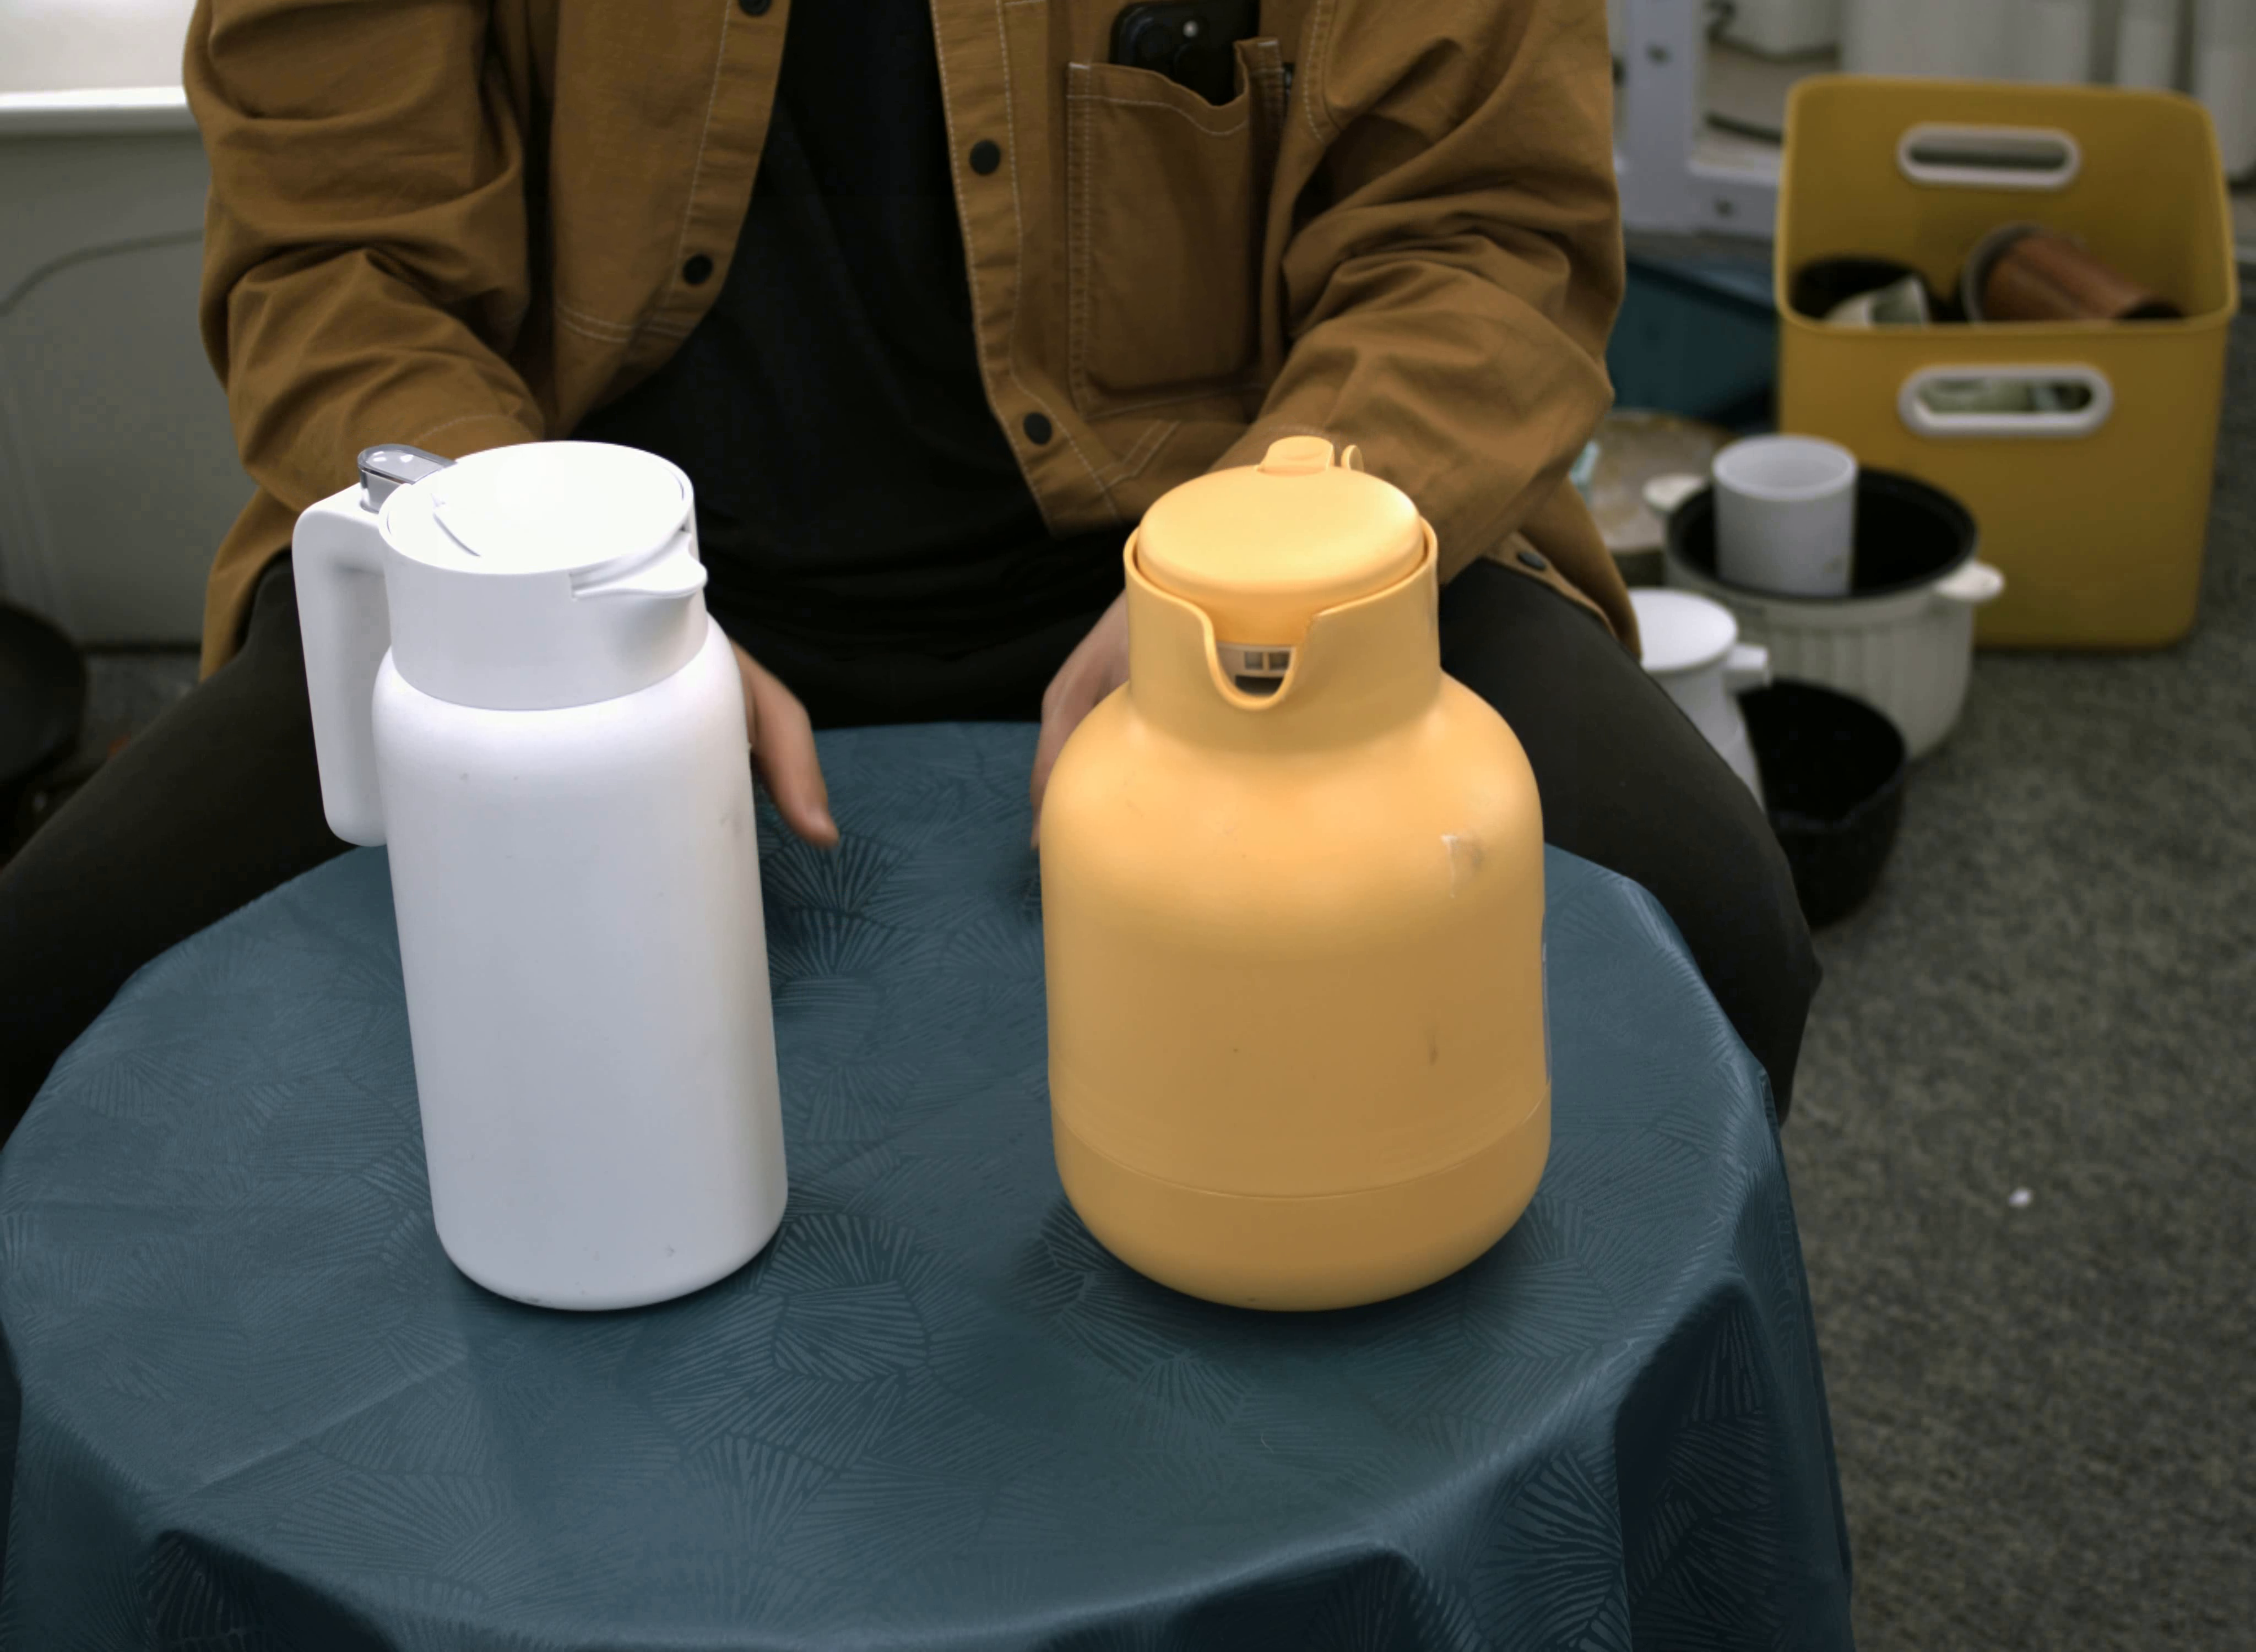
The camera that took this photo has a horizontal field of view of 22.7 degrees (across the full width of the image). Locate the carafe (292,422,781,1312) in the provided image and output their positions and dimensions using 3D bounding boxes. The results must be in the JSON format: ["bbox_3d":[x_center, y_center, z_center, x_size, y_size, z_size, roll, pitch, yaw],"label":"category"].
[{"bbox_3d":[-0.191,0.012,1.803,0.172,0.266,0.125,17,34,35],"label":"carafe"}]

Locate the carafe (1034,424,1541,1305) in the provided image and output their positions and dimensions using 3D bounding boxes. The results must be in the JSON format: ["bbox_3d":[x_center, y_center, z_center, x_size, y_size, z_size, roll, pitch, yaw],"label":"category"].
[{"bbox_3d":[0.055,0.003,1.800,0.162,0.257,0.206,5,29,9],"label":"carafe"}]
